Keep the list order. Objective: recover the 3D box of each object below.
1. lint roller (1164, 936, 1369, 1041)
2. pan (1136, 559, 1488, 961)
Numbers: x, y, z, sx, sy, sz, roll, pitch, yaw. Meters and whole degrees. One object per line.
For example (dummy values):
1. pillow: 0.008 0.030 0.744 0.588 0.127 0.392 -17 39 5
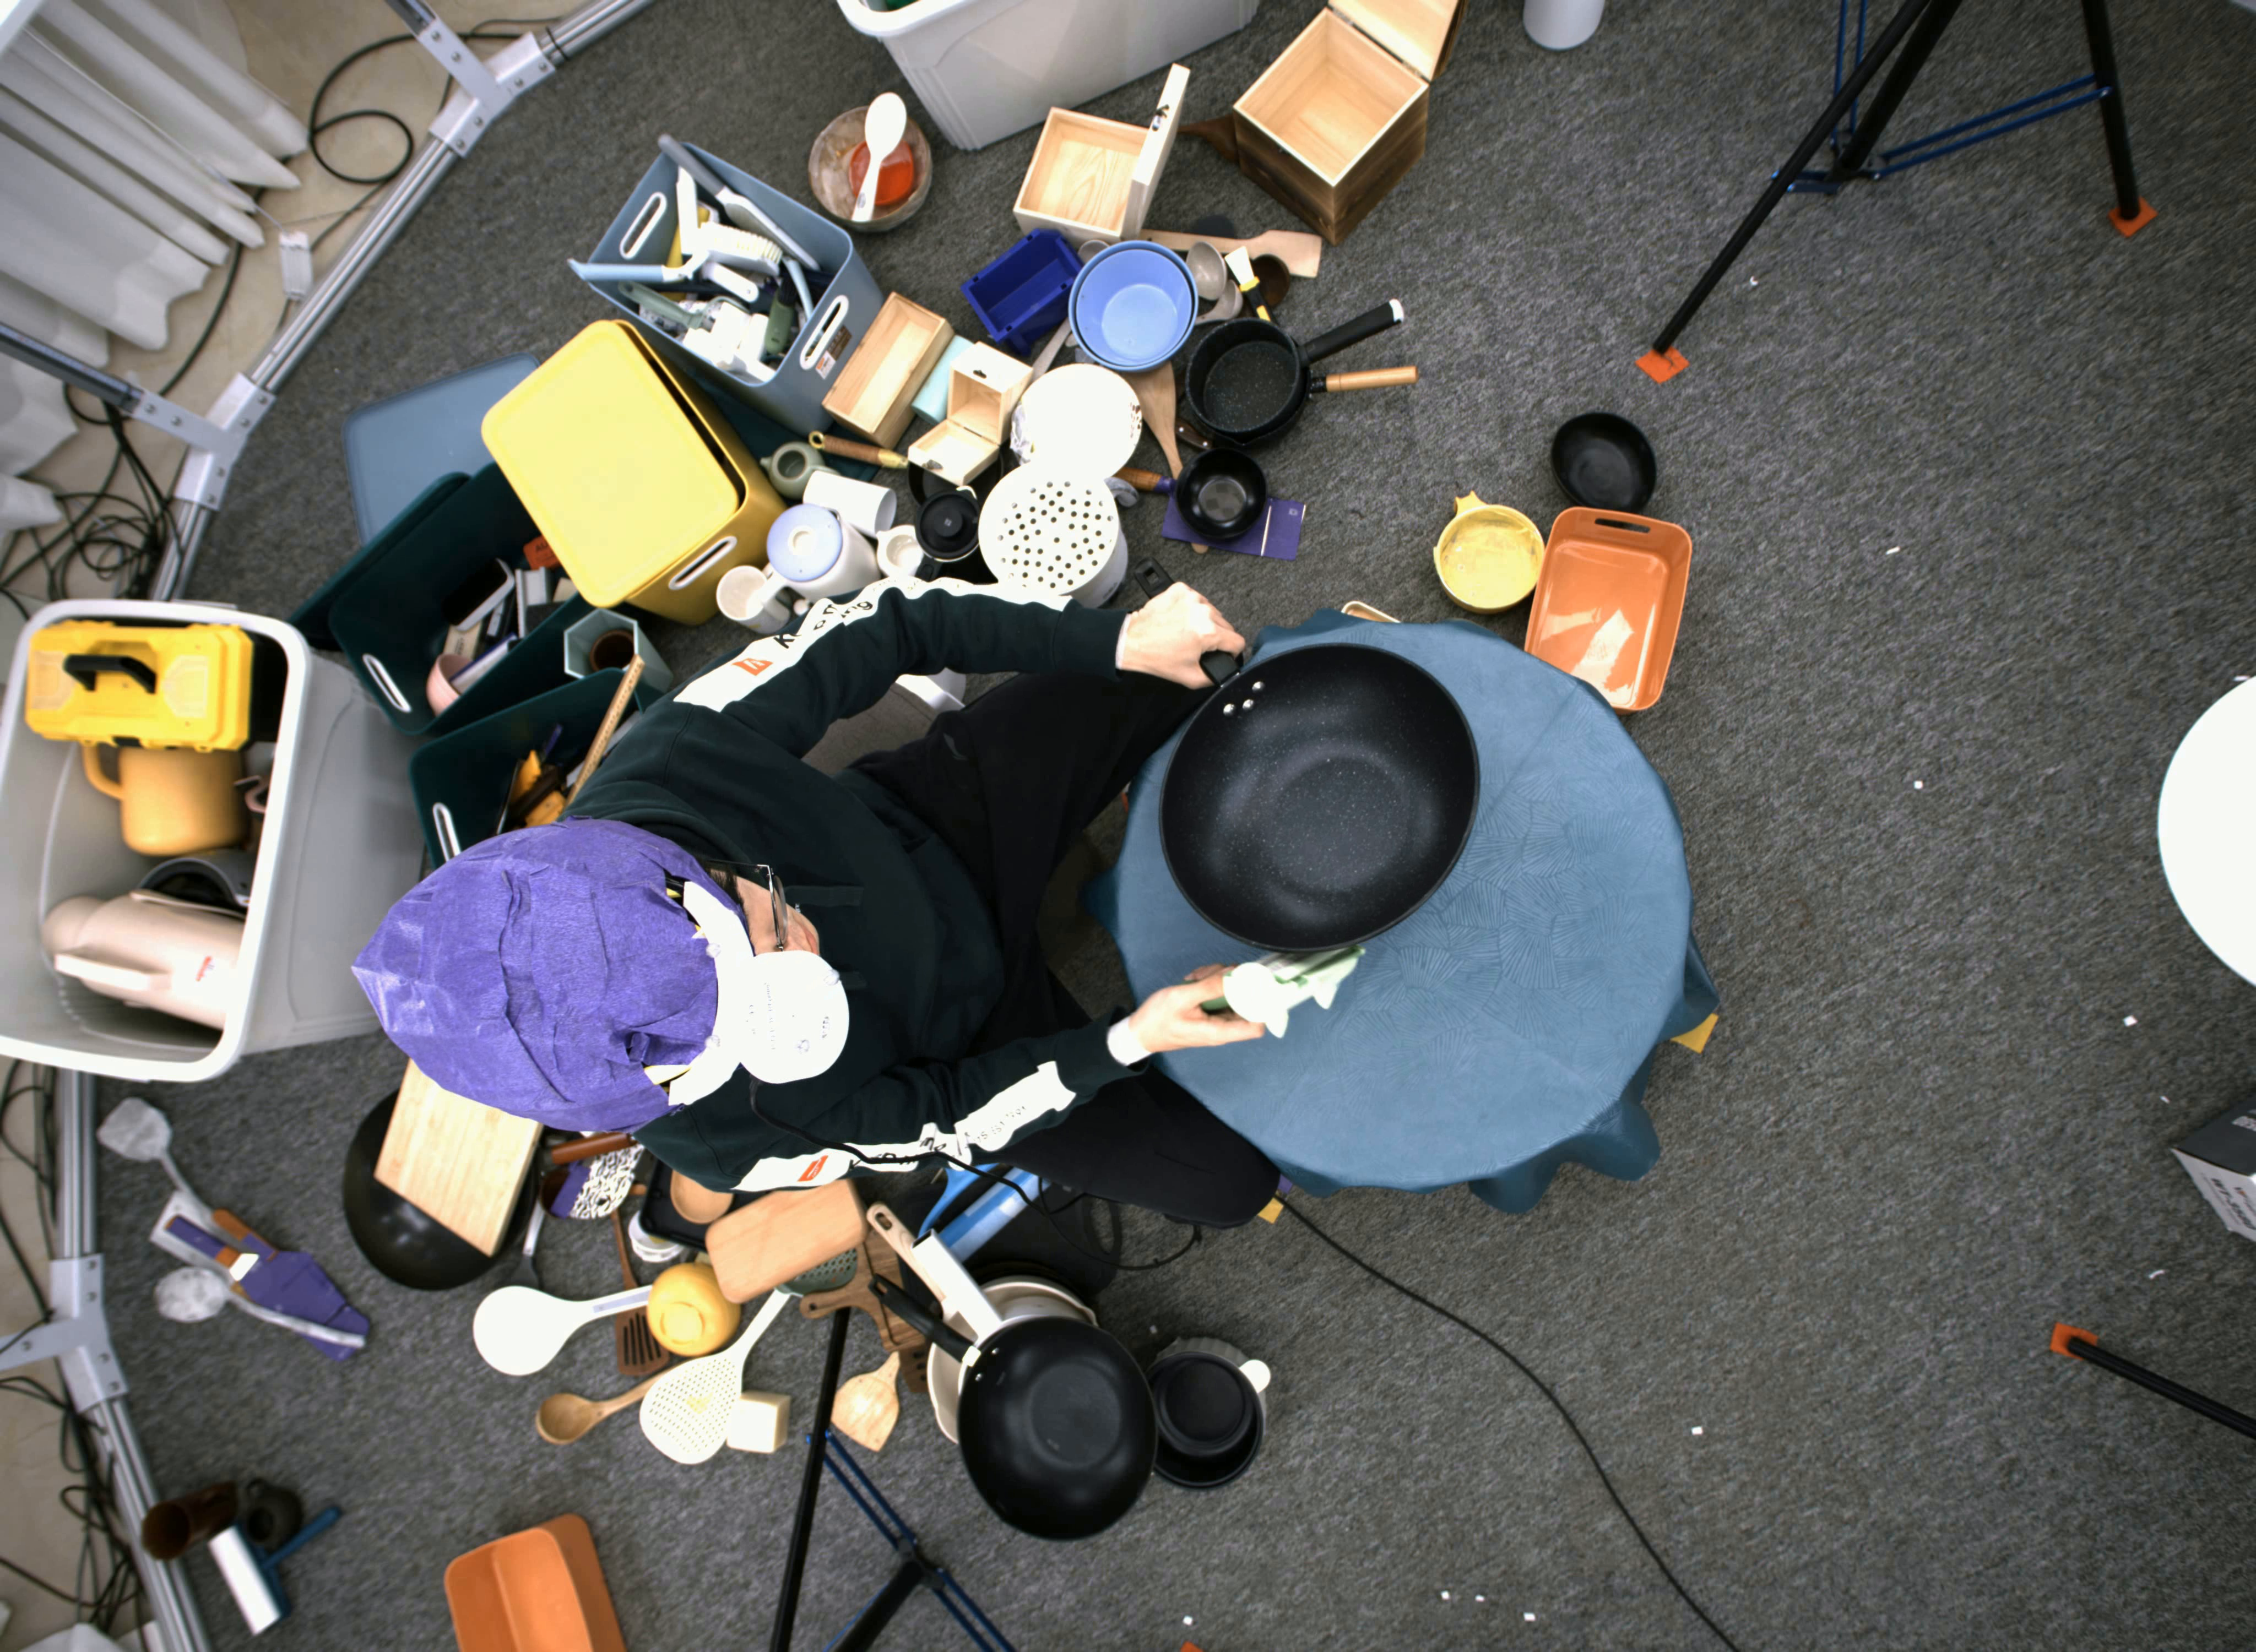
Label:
1. lint roller: 0.120 0.166 1.318 0.186 0.196 0.082 -29 83 31
2. pan: 0.146 -0.078 1.334 0.312 0.112 0.469 -37 61 9
